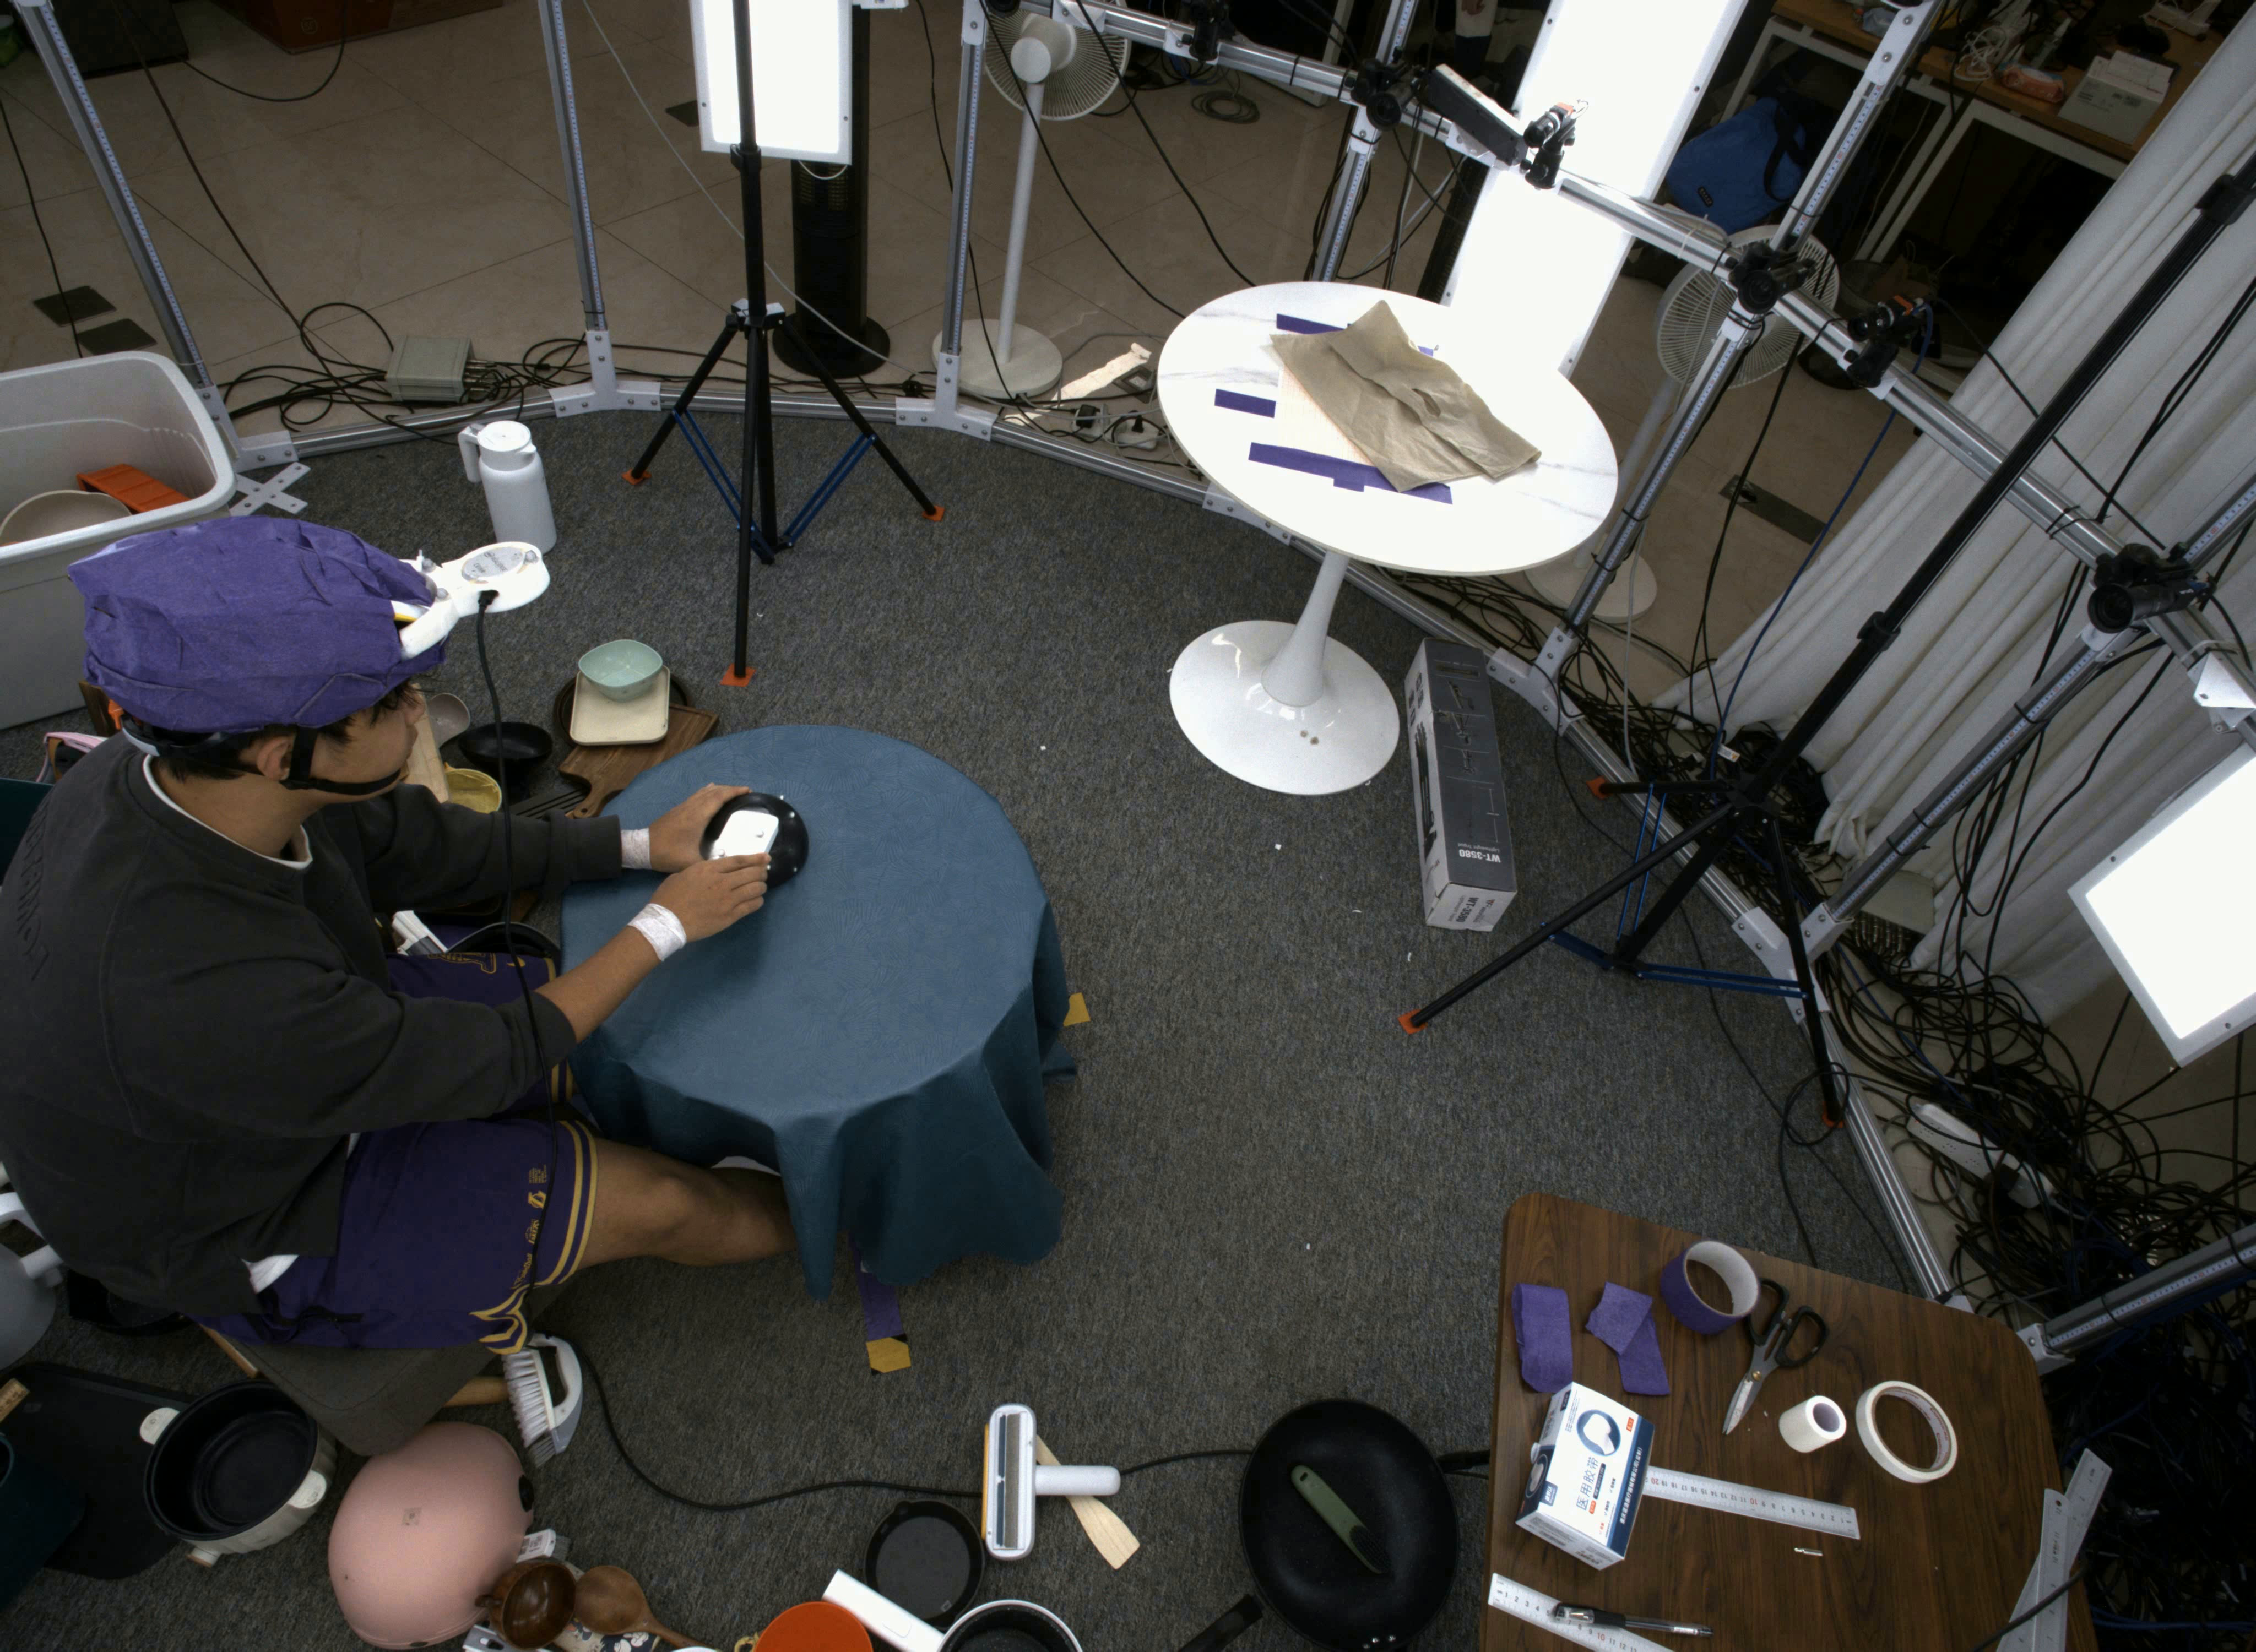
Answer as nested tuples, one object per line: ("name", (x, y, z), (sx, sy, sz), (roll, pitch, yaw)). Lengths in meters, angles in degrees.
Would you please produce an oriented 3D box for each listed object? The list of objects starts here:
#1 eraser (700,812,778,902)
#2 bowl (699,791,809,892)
("eraser", (-0.479, 0.033, 1.590), (0.062, 0.035, 0.129), (11, 46, 3))
("bowl", (-0.481, 0.009, 1.660), (0.140, 0.050, 0.138), (9, 61, -15))
